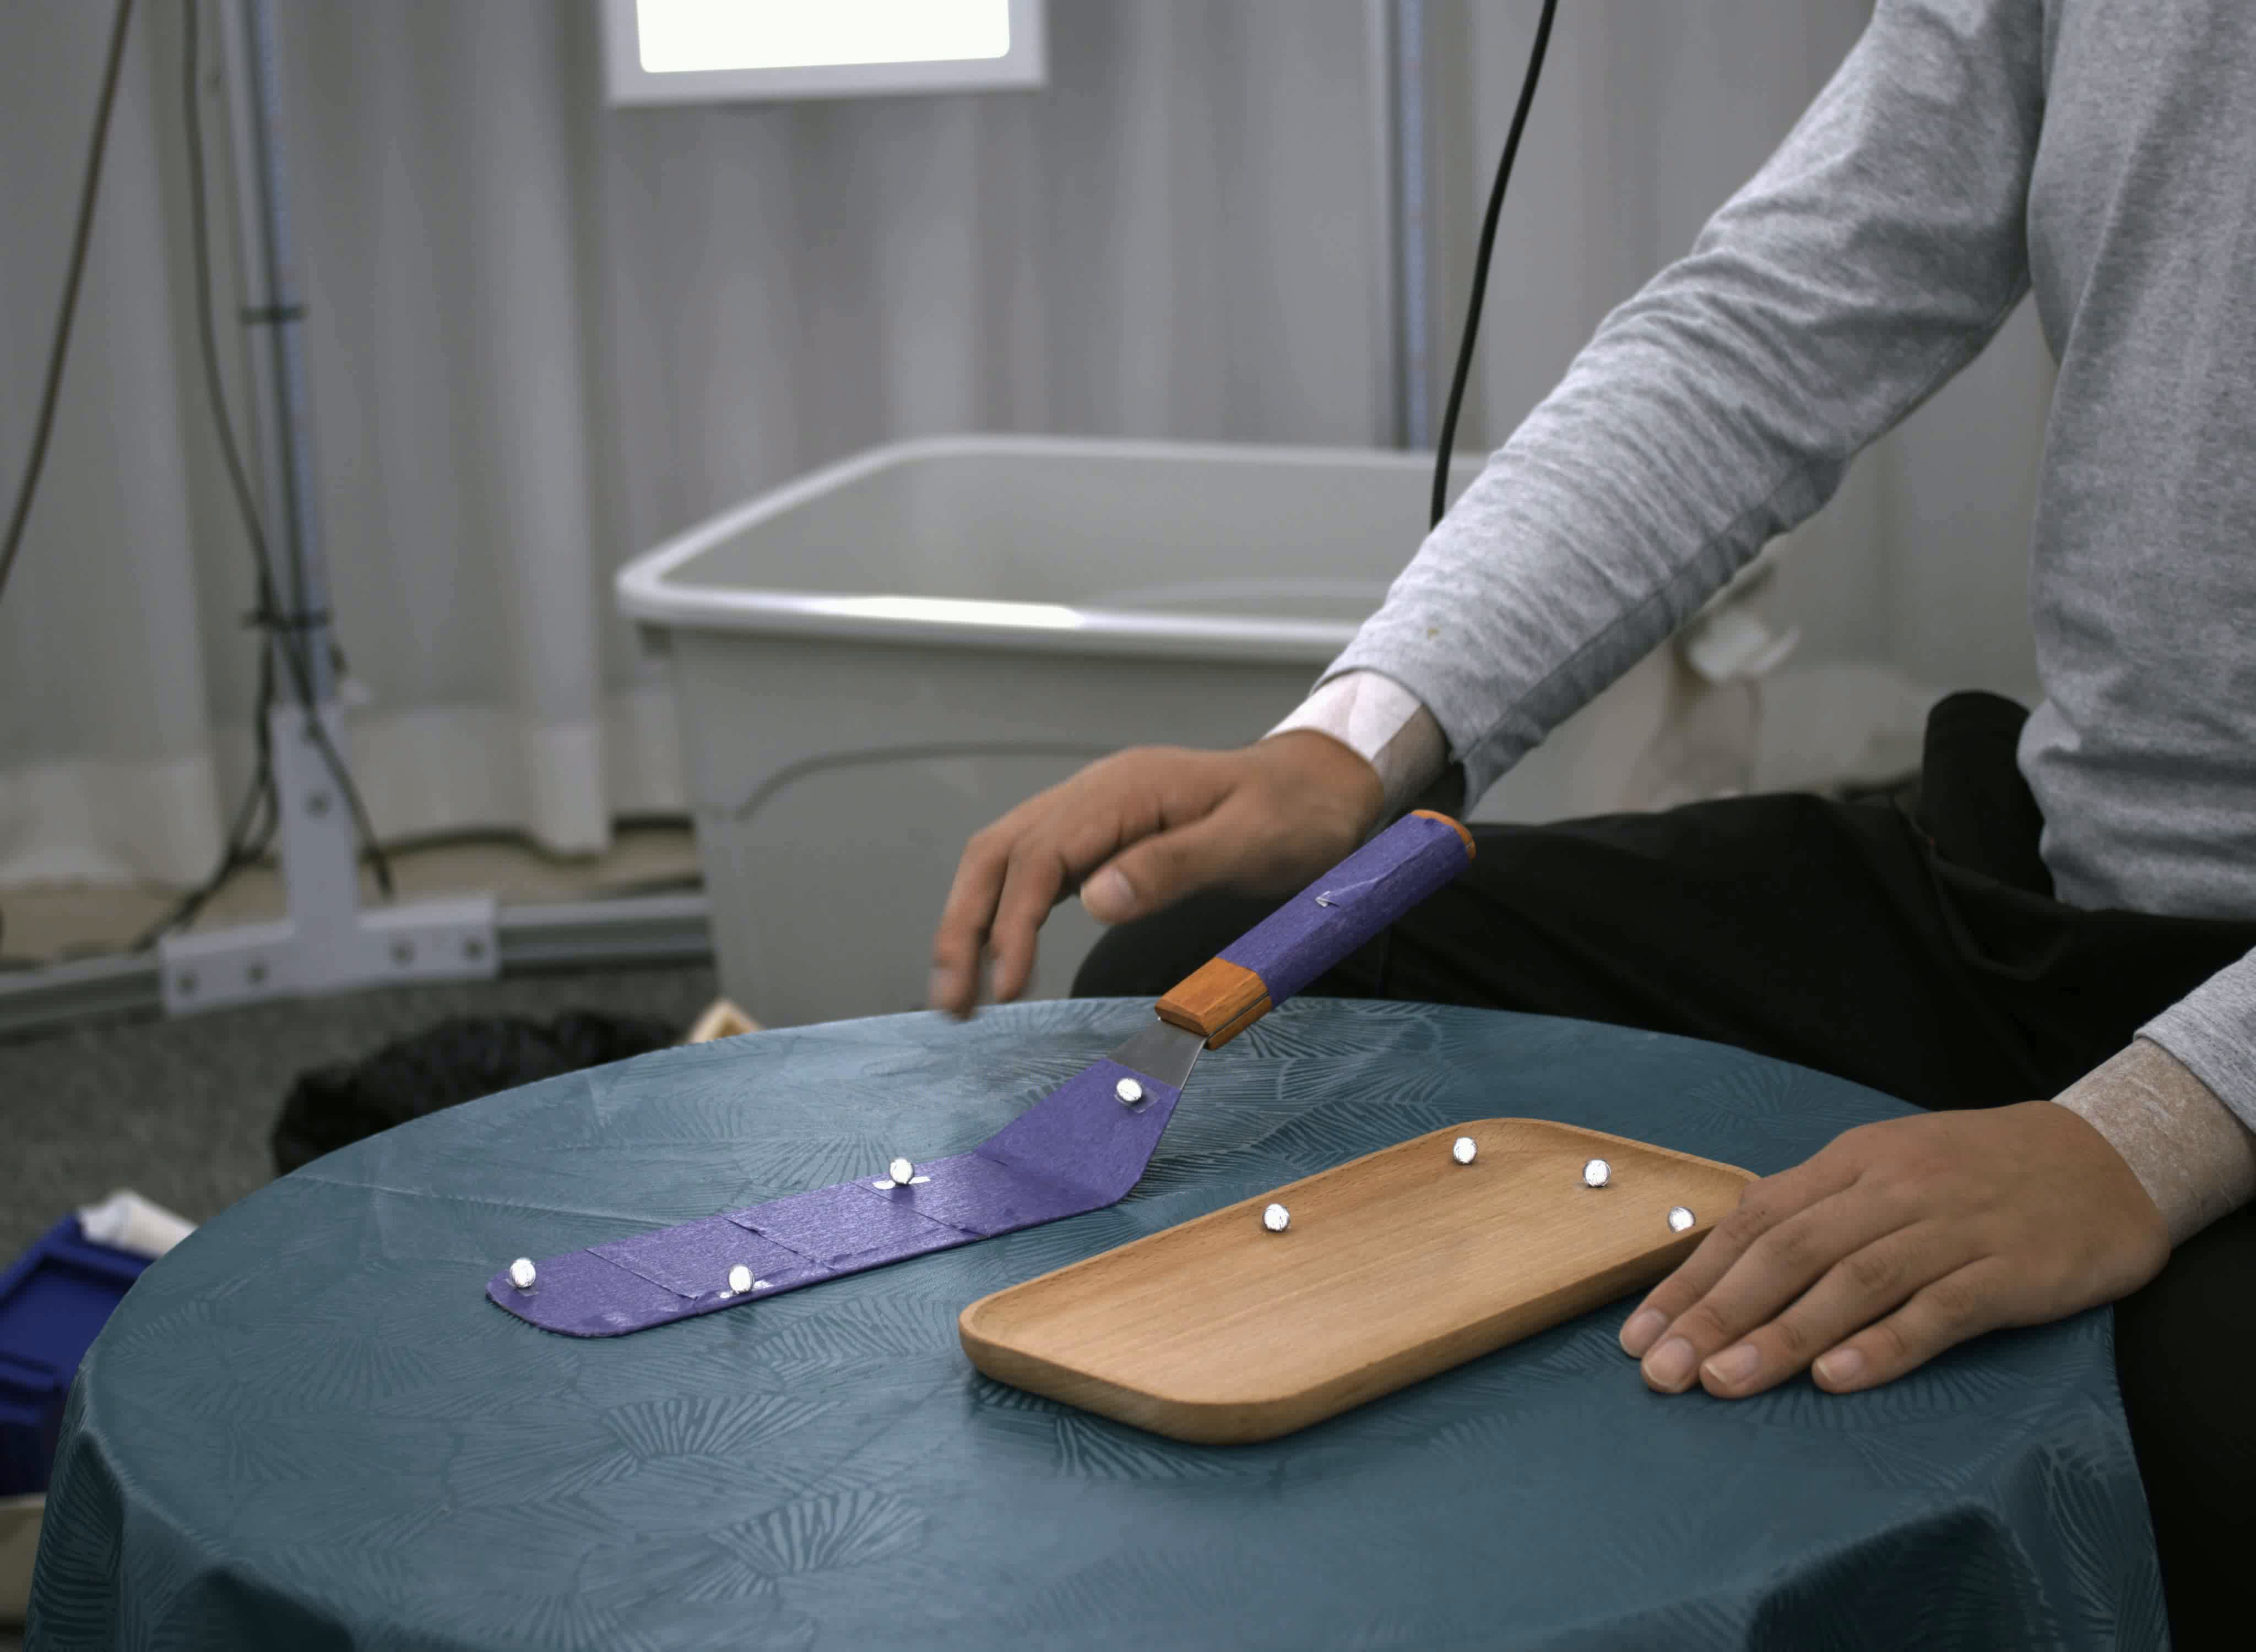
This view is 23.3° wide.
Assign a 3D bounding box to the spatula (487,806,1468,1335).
[{"bbox_3d":[-0.037,0.075,1.716,0.360,0.086,0.076,-39,31,-23],"label":"spatula"}]

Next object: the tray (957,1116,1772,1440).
[{"bbox_3d":[0.073,0.131,1.608,0.250,0.023,0.131,-17,17,-41],"label":"tray"}]
